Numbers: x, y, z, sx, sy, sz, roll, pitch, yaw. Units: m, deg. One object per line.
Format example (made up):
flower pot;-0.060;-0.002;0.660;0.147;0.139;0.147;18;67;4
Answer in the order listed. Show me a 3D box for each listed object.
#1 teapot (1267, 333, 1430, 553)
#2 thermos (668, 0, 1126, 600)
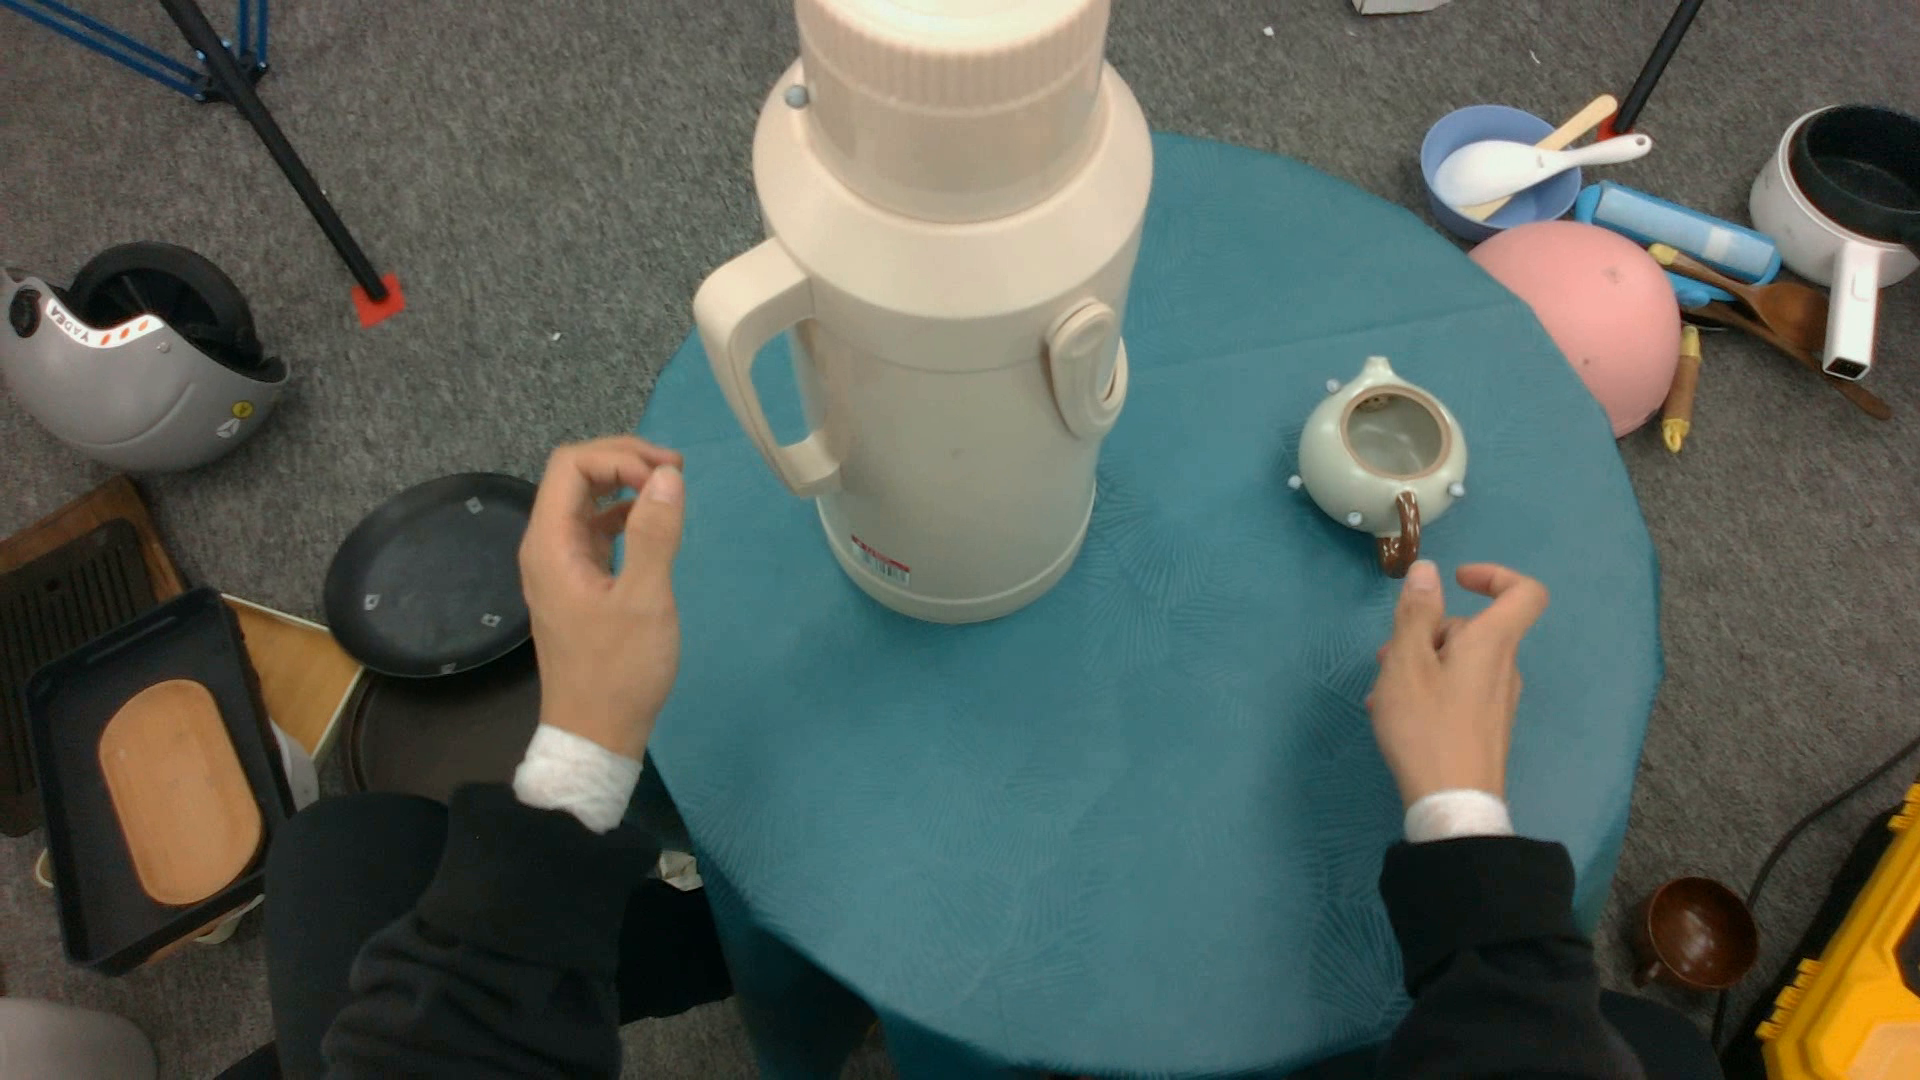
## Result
teapot;0.224;-0.053;0.789;0.092;0.059;0.128;-2;63;-8
thermos;-0.028;-0.113;0.625;0.207;0.404;0.175;-35;72;-17
